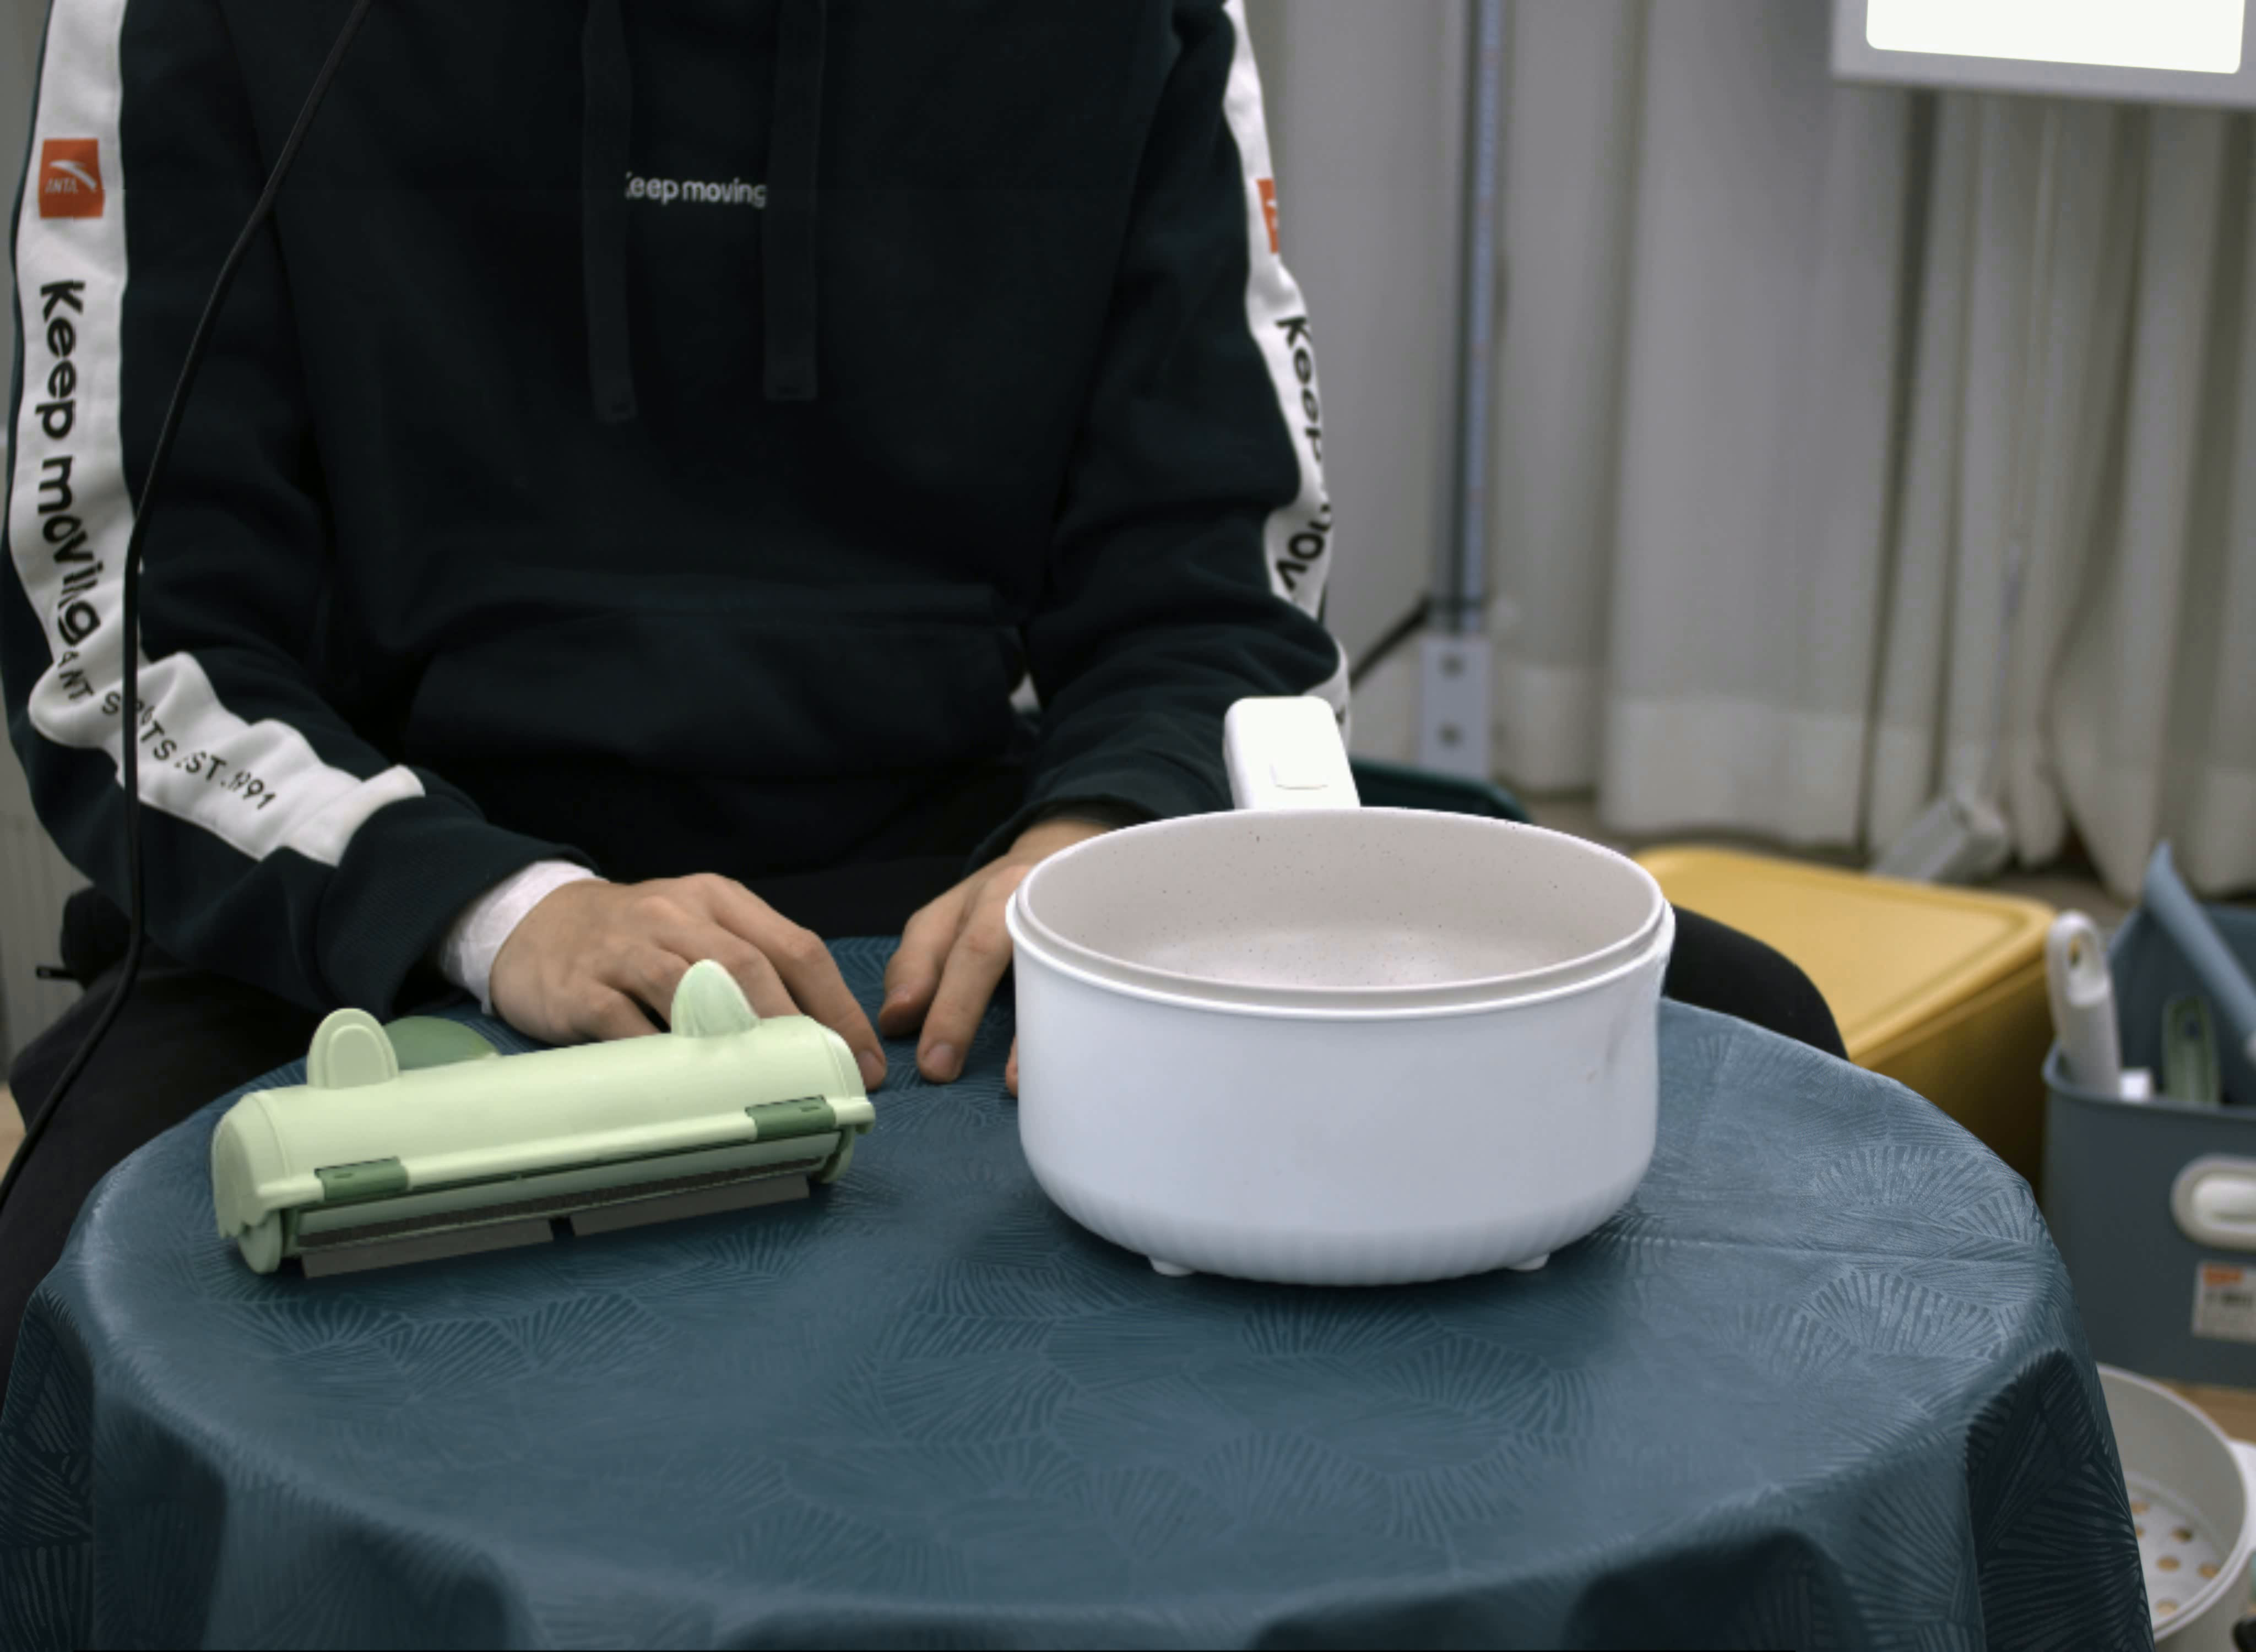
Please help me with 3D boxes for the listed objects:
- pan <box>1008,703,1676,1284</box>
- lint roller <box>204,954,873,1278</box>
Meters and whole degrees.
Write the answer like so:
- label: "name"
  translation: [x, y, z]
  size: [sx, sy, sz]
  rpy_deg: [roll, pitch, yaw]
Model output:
- label: "pan"
  translation: [0.062, 0.048, 1.666]
  size: [0.201, 0.103, 0.353]
  rpy_deg: [0, 15, -2]
- label: "lint roller"
  translation: [-0.200, 0.070, 1.624]
  size: [0.199, 0.083, 0.181]
  rpy_deg: [-8, 23, -25]
